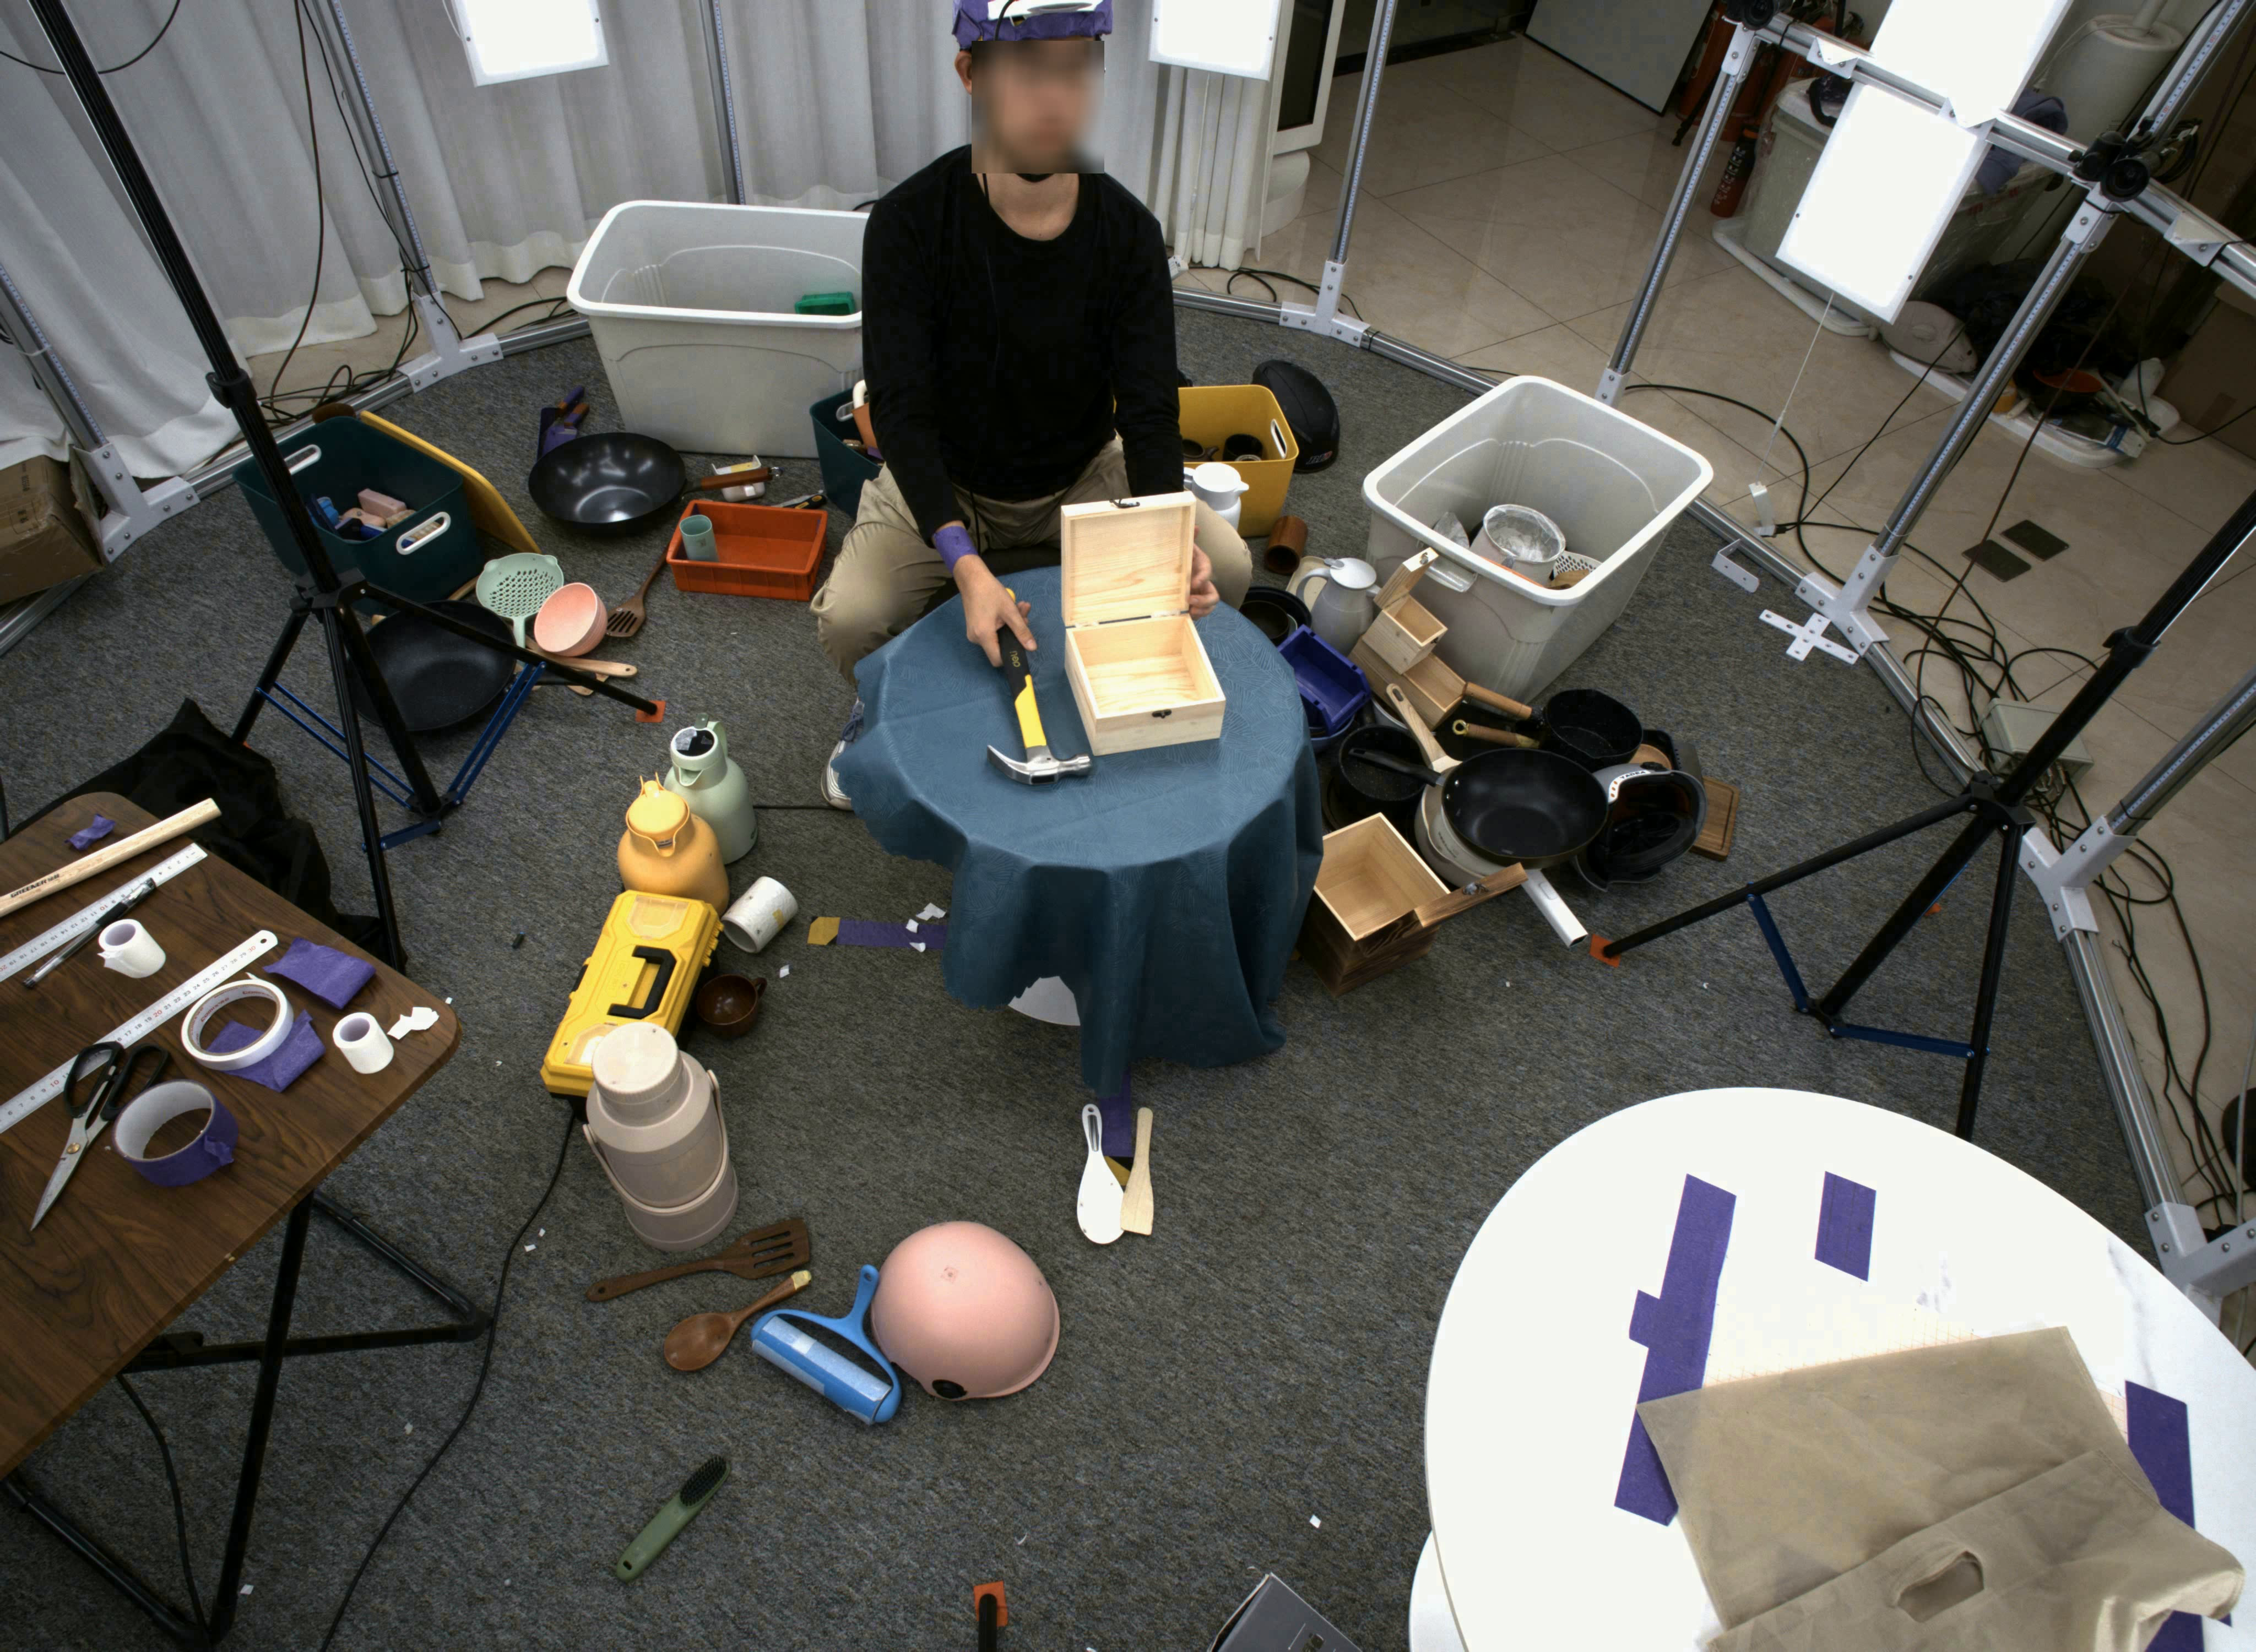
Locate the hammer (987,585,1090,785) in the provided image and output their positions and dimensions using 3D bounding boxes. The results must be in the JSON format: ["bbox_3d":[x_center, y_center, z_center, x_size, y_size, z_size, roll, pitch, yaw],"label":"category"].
[{"bbox_3d":[-0.148,-0.203,1.790,0.131,0.031,0.346,-8,58,-9],"label":"hammer"}]

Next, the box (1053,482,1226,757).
[{"bbox_3d":[0.016,-0.280,1.753,0.181,0.247,0.272,-11,51,-10],"label":"box"}]
